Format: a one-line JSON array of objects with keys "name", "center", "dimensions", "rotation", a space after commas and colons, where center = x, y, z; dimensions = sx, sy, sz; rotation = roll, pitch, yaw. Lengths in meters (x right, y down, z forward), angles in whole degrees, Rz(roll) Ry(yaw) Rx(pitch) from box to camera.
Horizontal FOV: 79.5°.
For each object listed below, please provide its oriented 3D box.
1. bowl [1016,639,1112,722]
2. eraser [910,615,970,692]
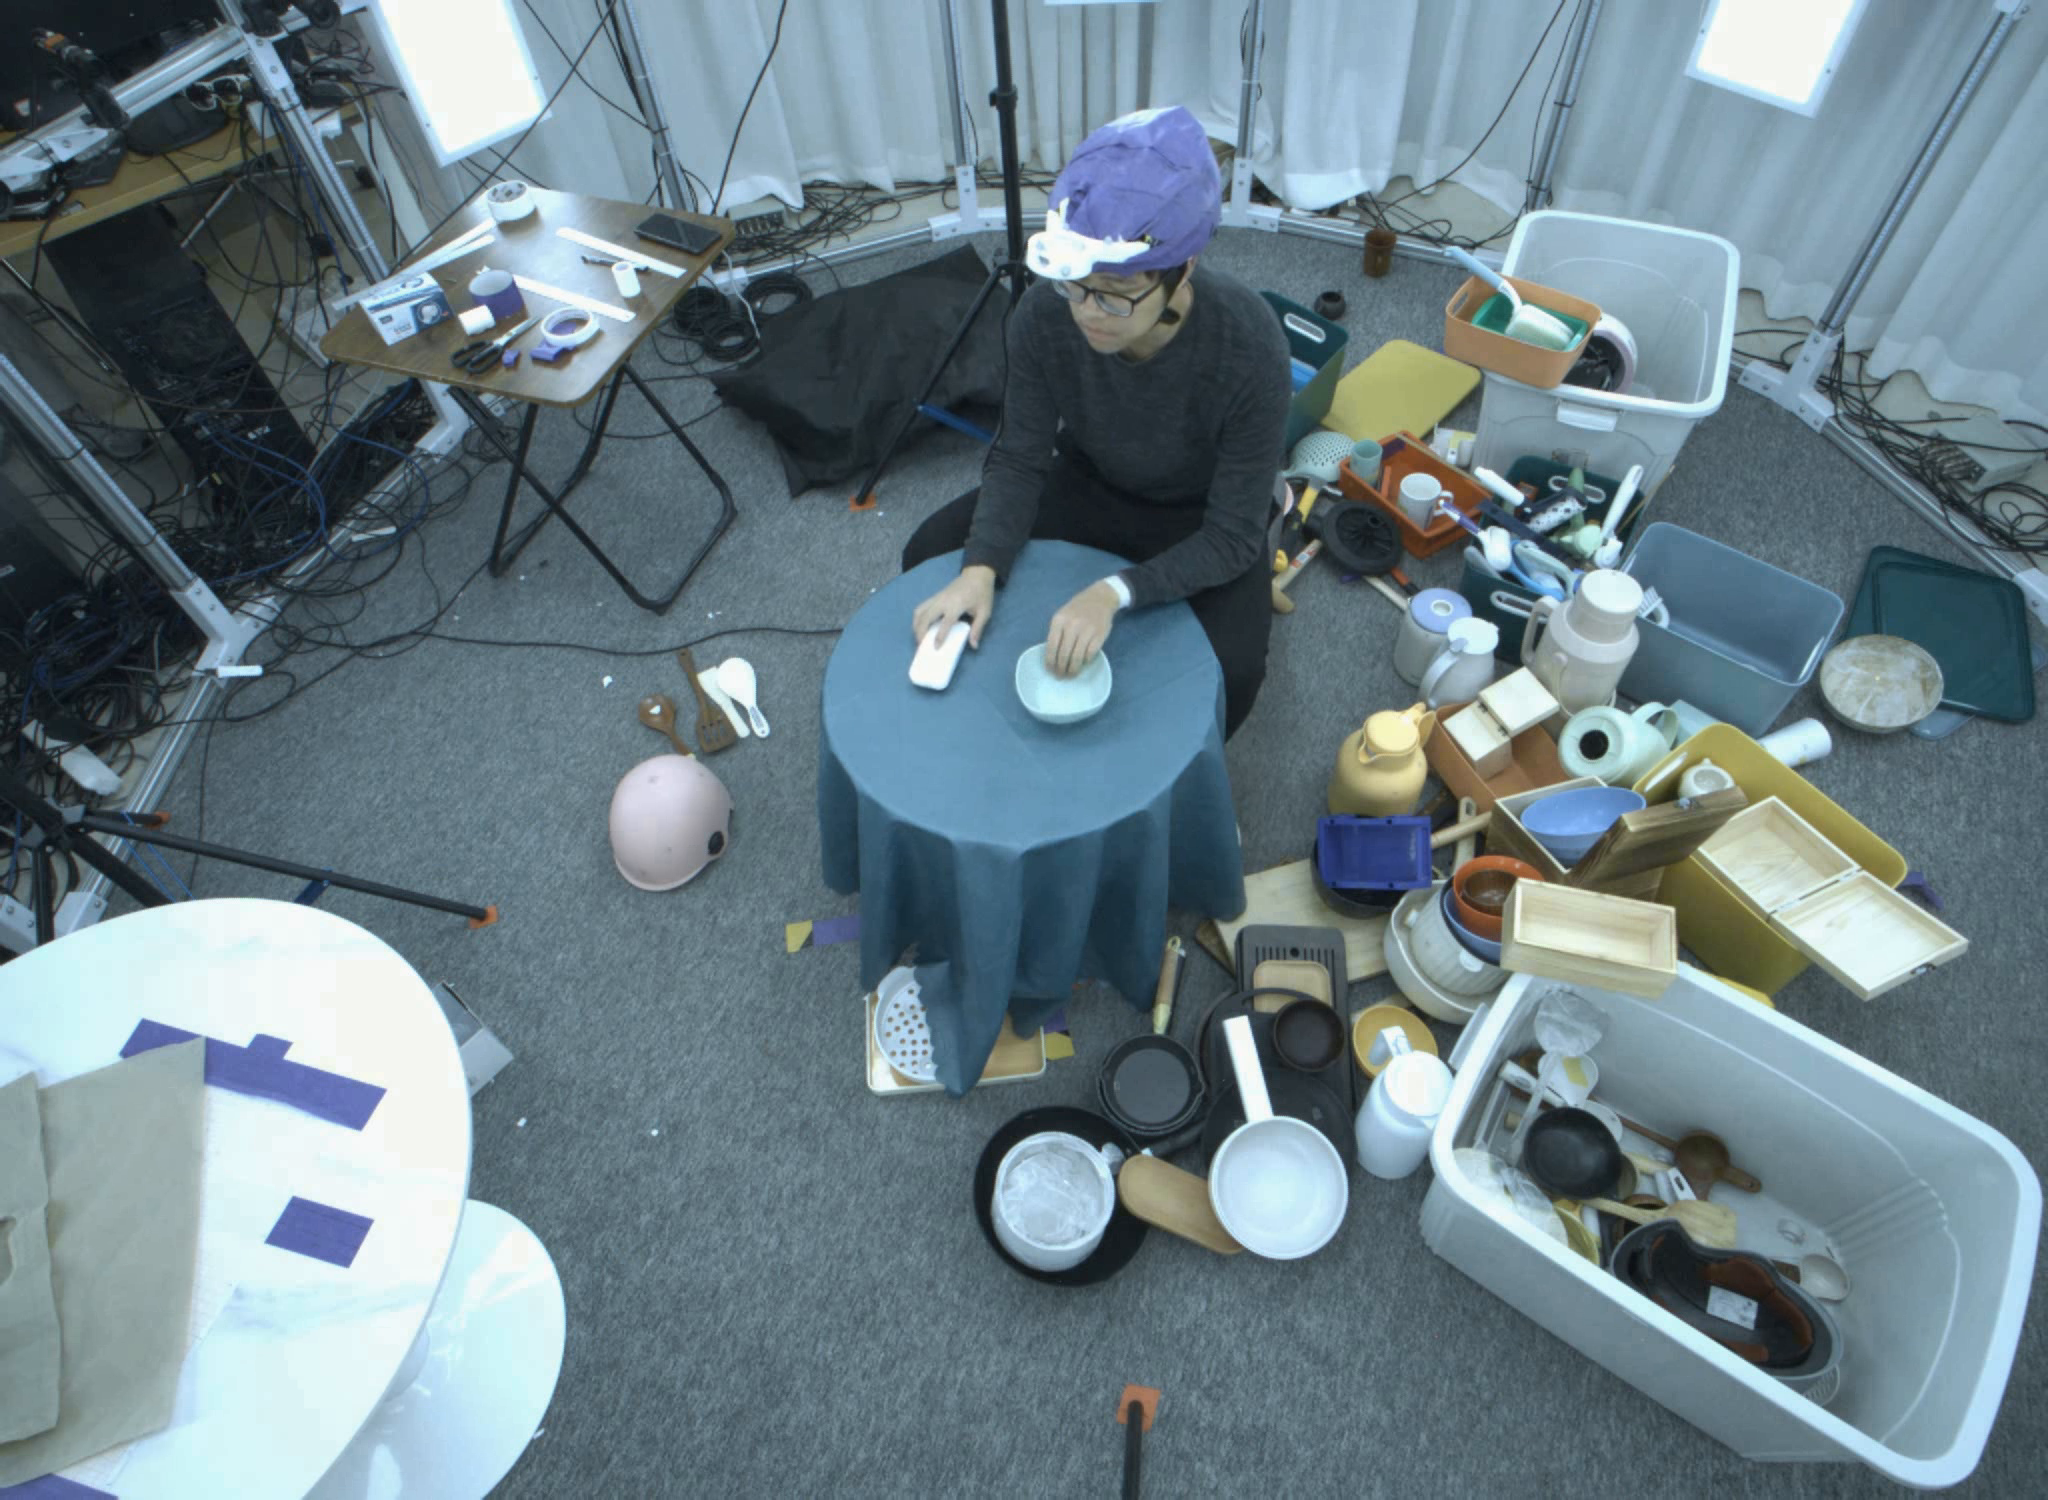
[{"name": "bowl", "center": [0.060, -0.092, 1.817], "dimensions": [0.151, 0.059, 0.150], "rotation": [-1, 56, 2]}, {"name": "eraser", "center": [-0.127, -0.149, 1.878], "dimensions": [0.063, 0.035, 0.131], "rotation": [14, 58, 10]}]
